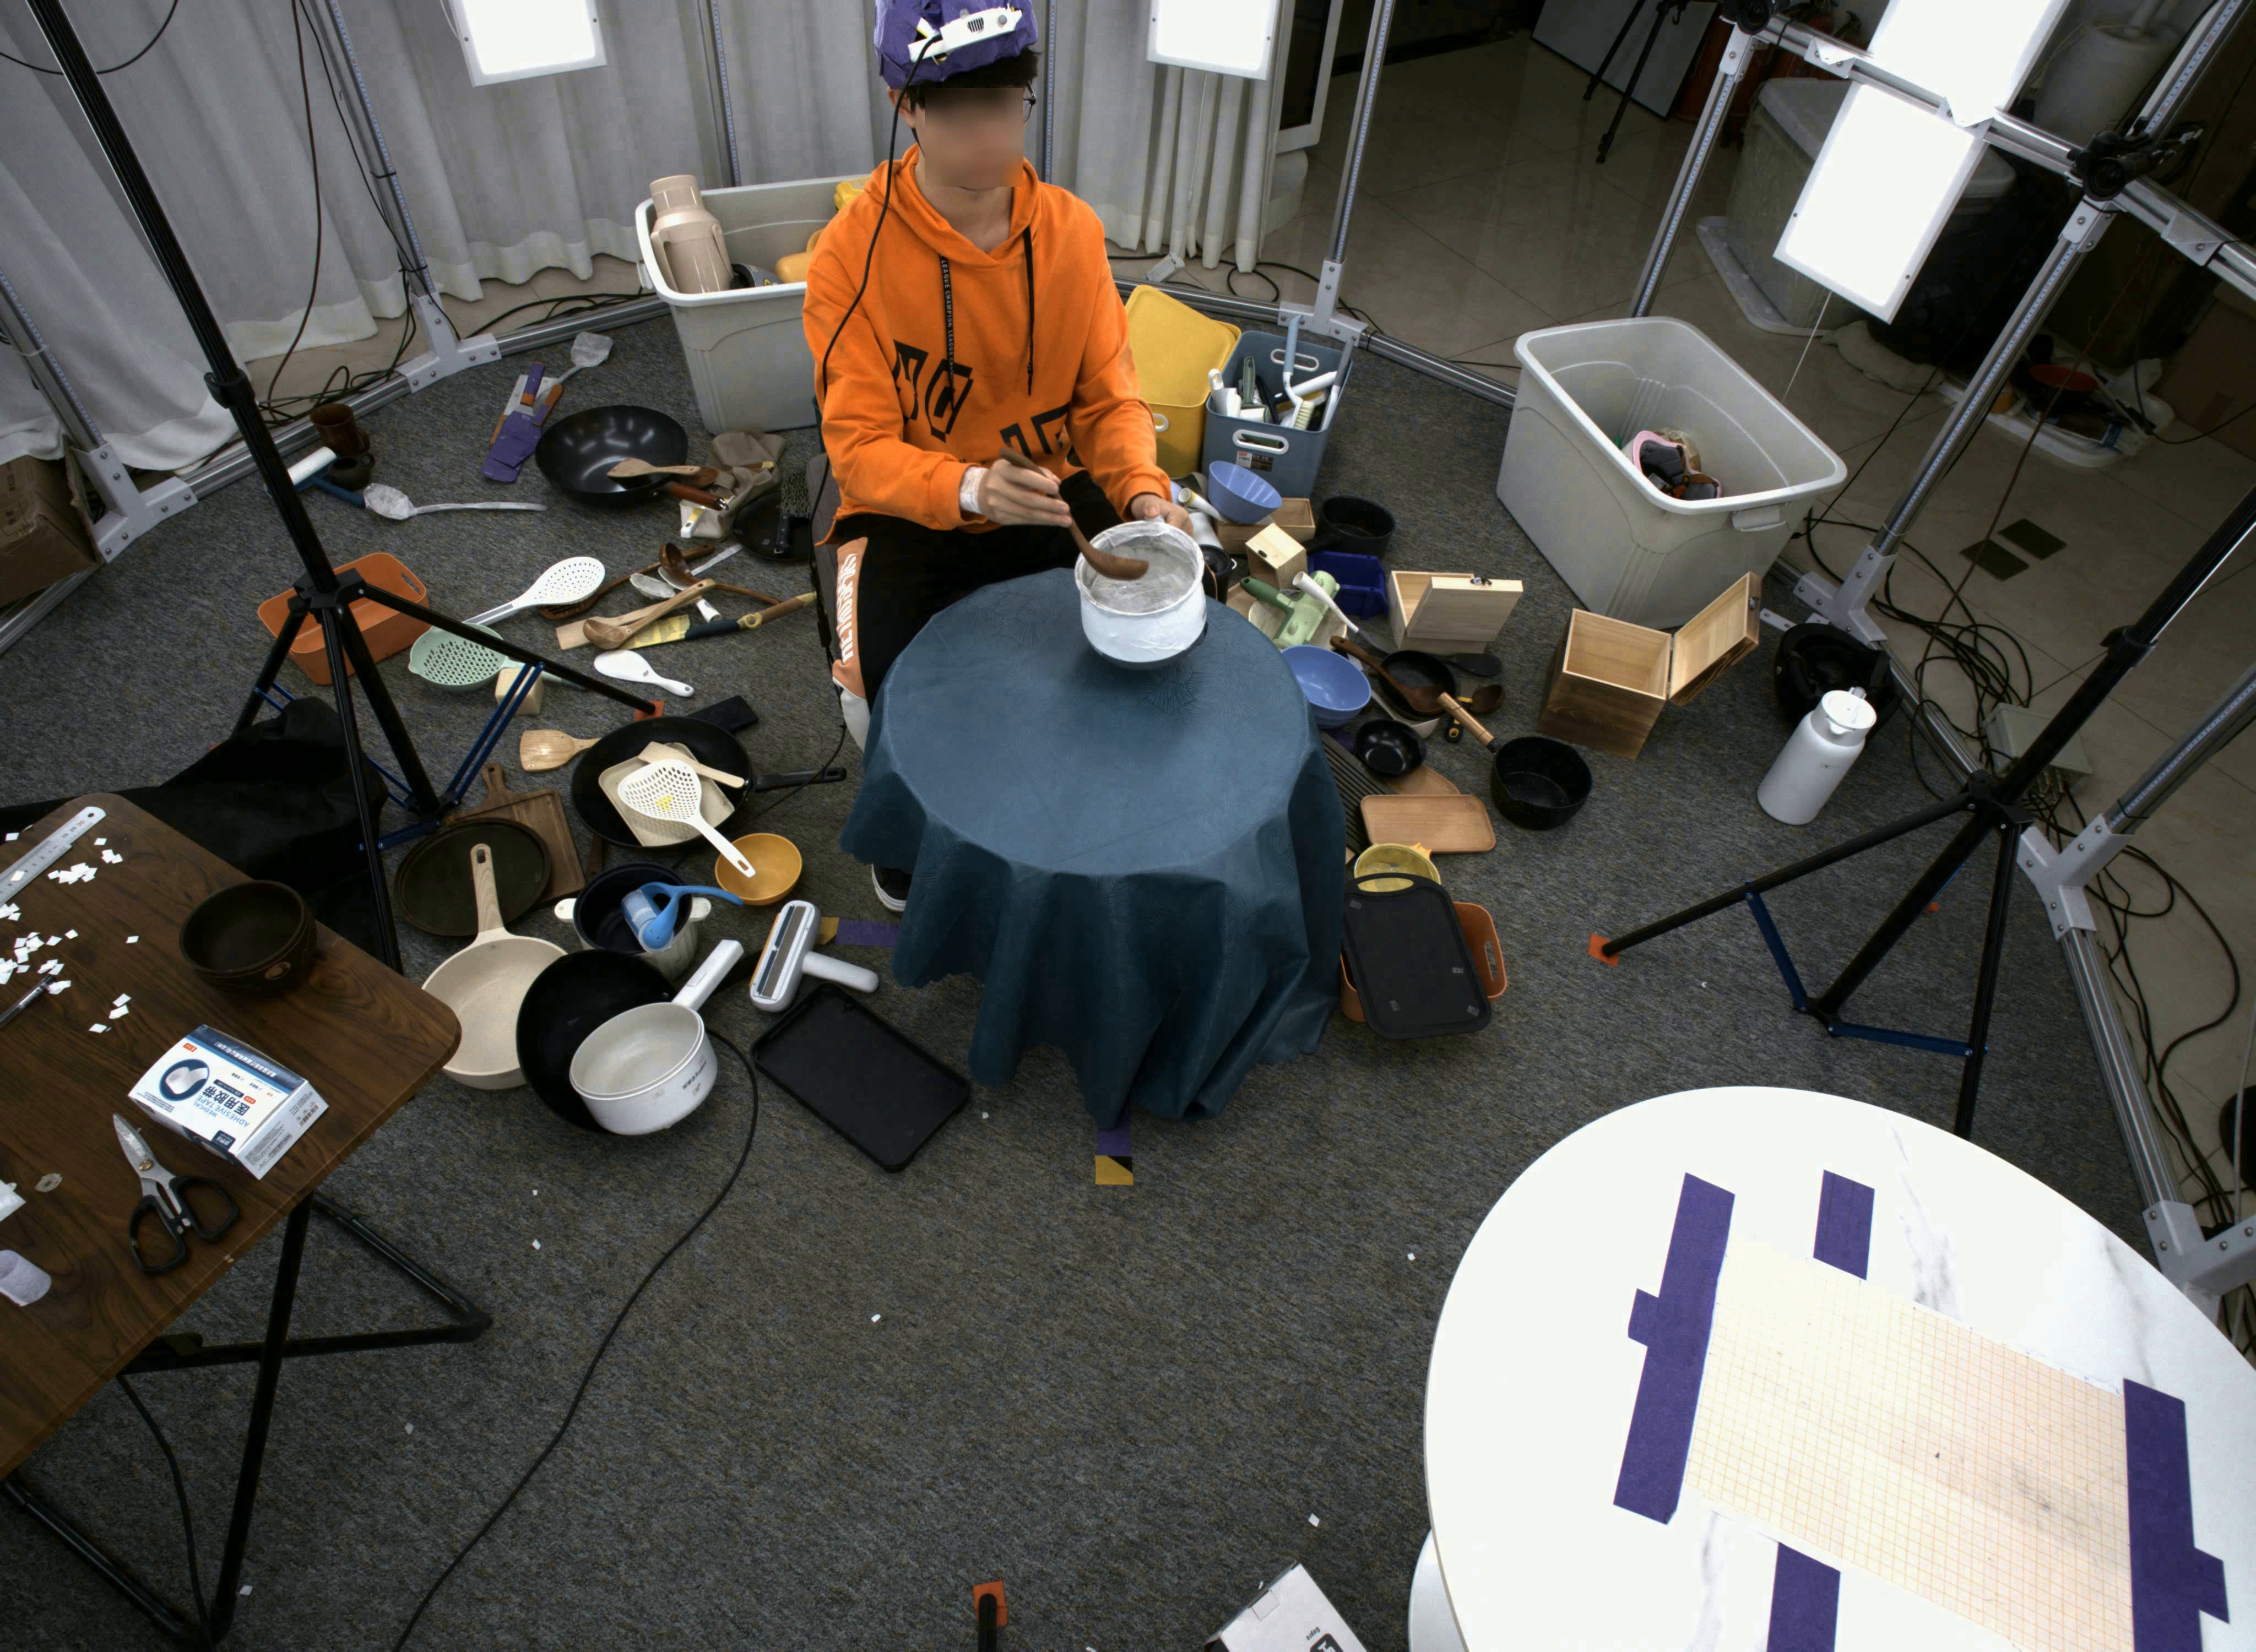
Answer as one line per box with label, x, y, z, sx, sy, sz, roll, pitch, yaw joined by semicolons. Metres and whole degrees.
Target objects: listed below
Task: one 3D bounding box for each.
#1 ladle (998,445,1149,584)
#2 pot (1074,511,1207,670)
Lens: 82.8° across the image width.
ladle;-0.069;-0.415;1.704;0.065;0.256;0.077;-49;26;-14
pot;0.024;-0.342;1.816;0.179;0.133;0.239;5;56;9
